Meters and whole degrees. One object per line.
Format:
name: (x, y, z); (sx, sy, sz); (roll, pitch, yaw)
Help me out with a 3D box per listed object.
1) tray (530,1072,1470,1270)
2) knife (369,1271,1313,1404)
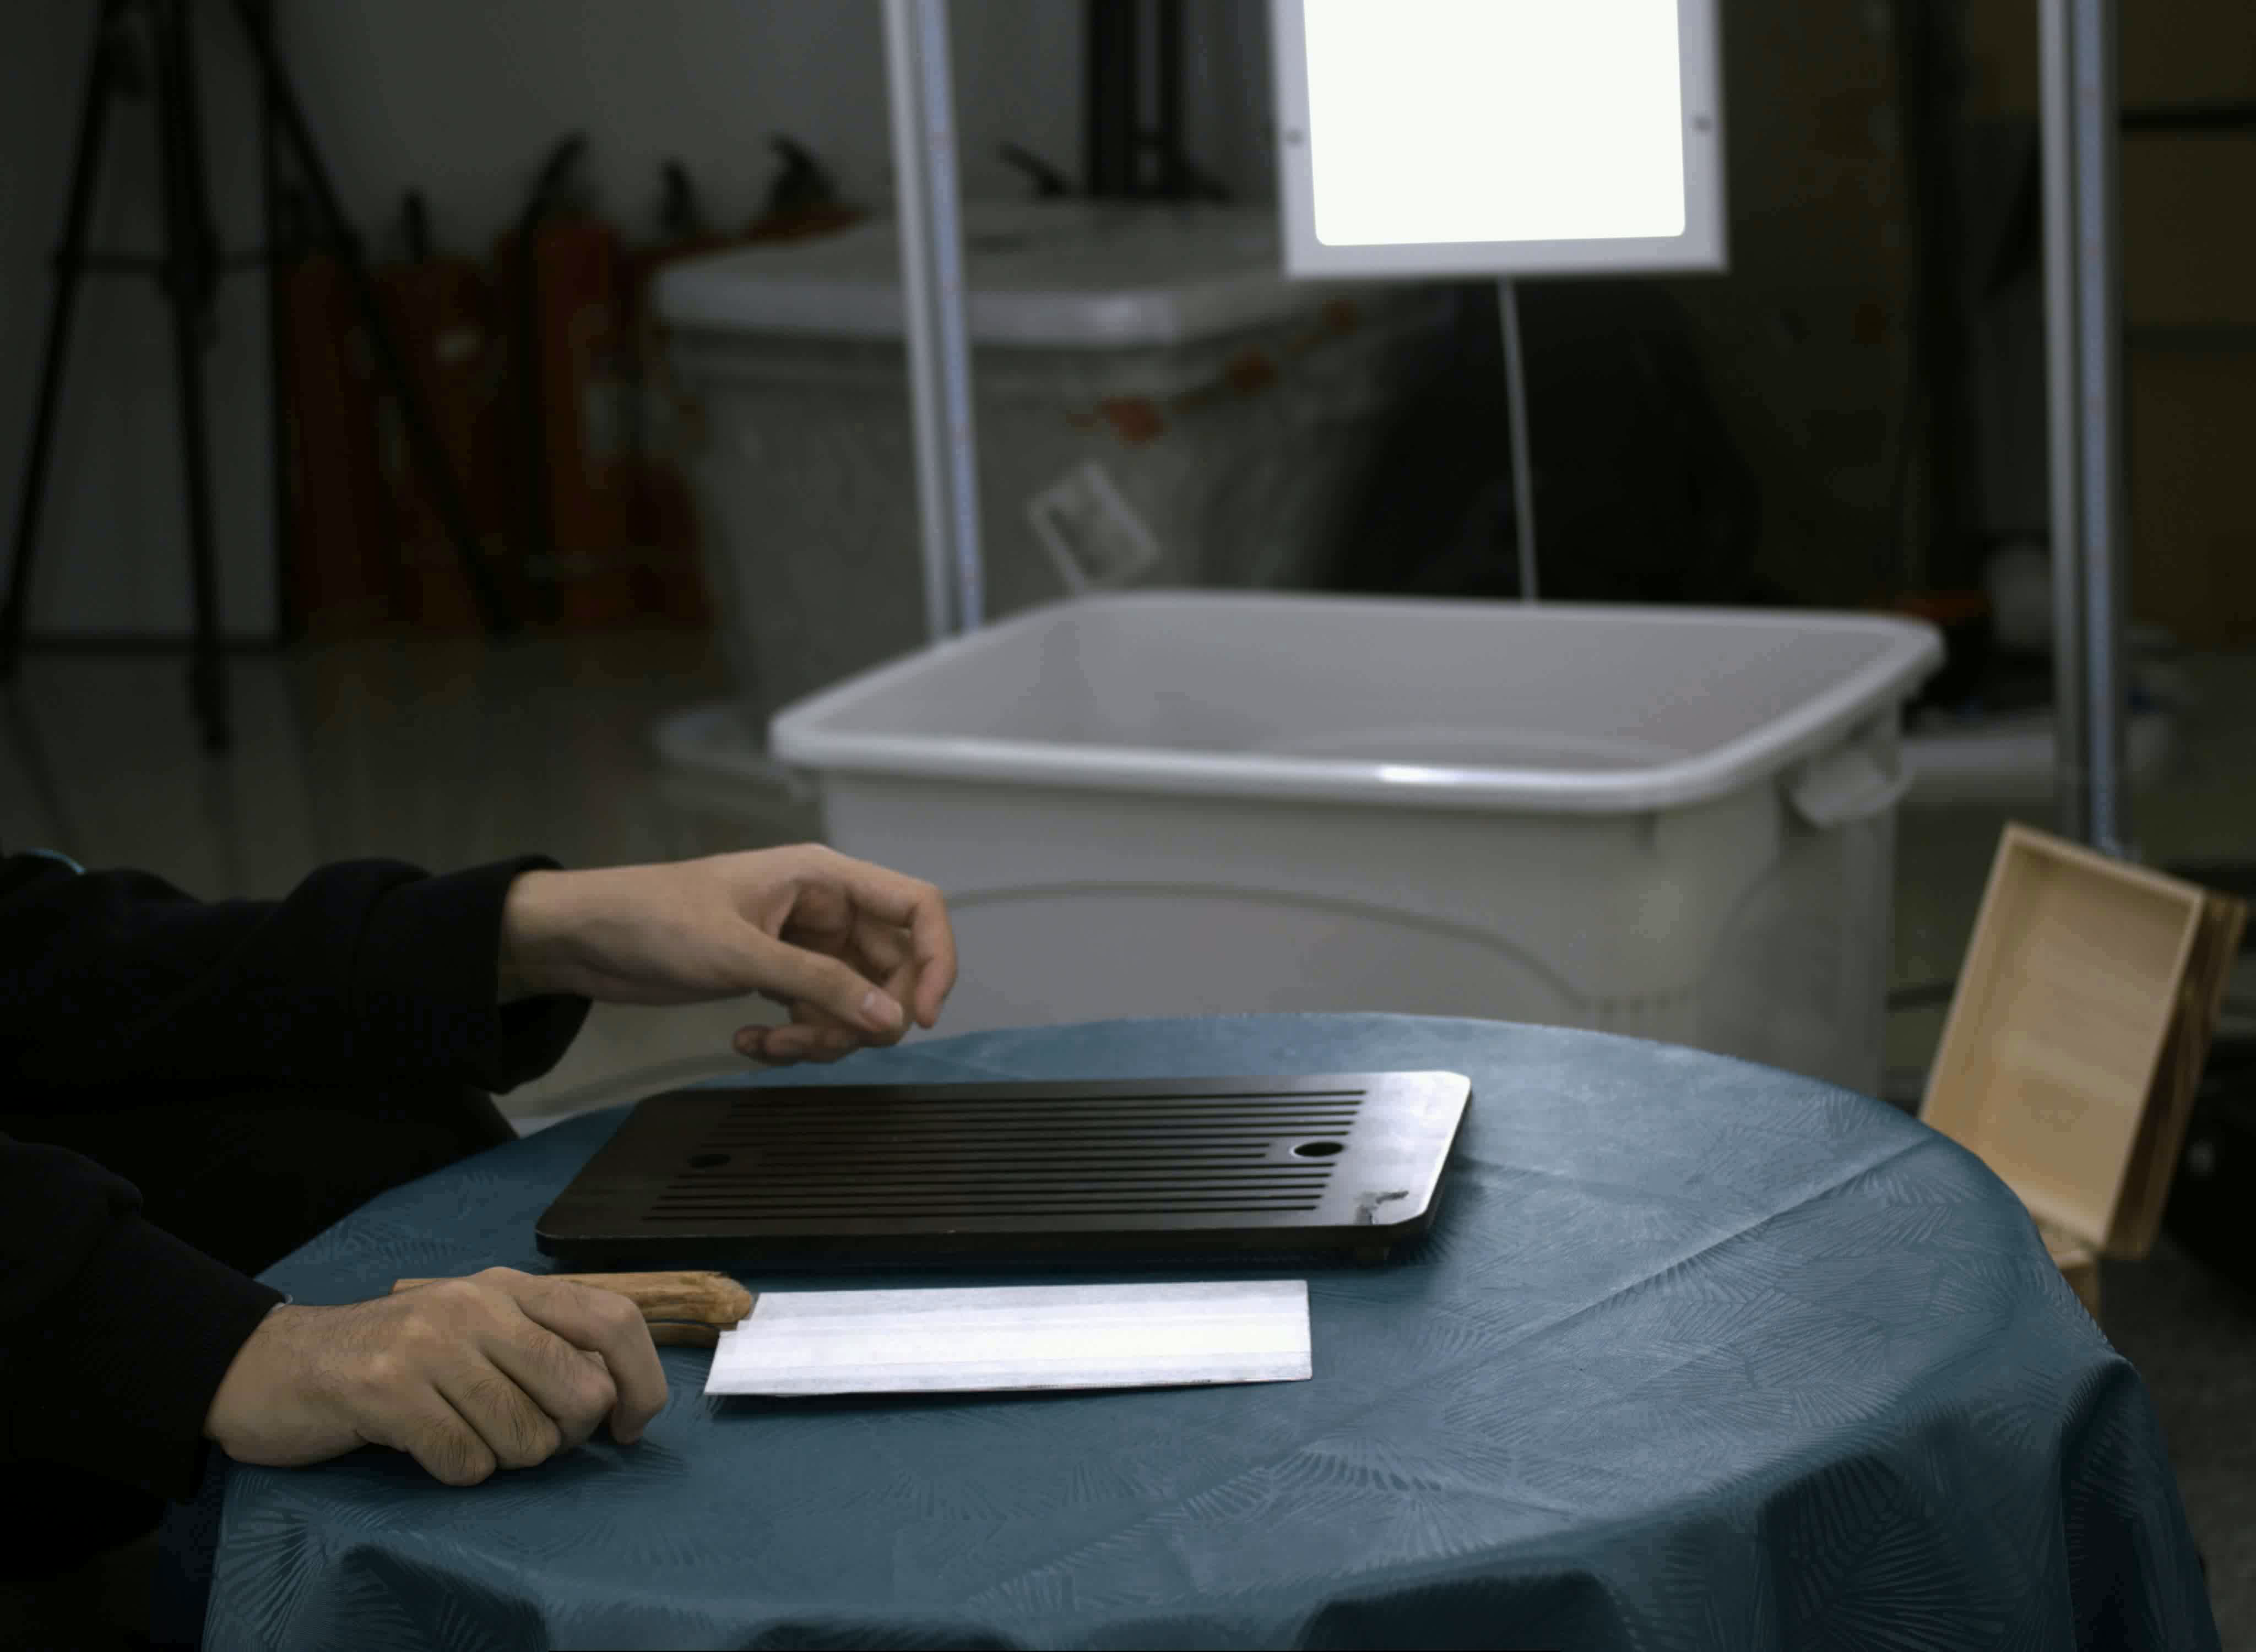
tray: (-0.040, 0.119, 1.902); (0.308, 0.019, 0.168); (-2, 15, 13)
knife: (-0.094, 0.163, 1.751); (0.306, 0.021, 0.092); (-2, 15, 4)
